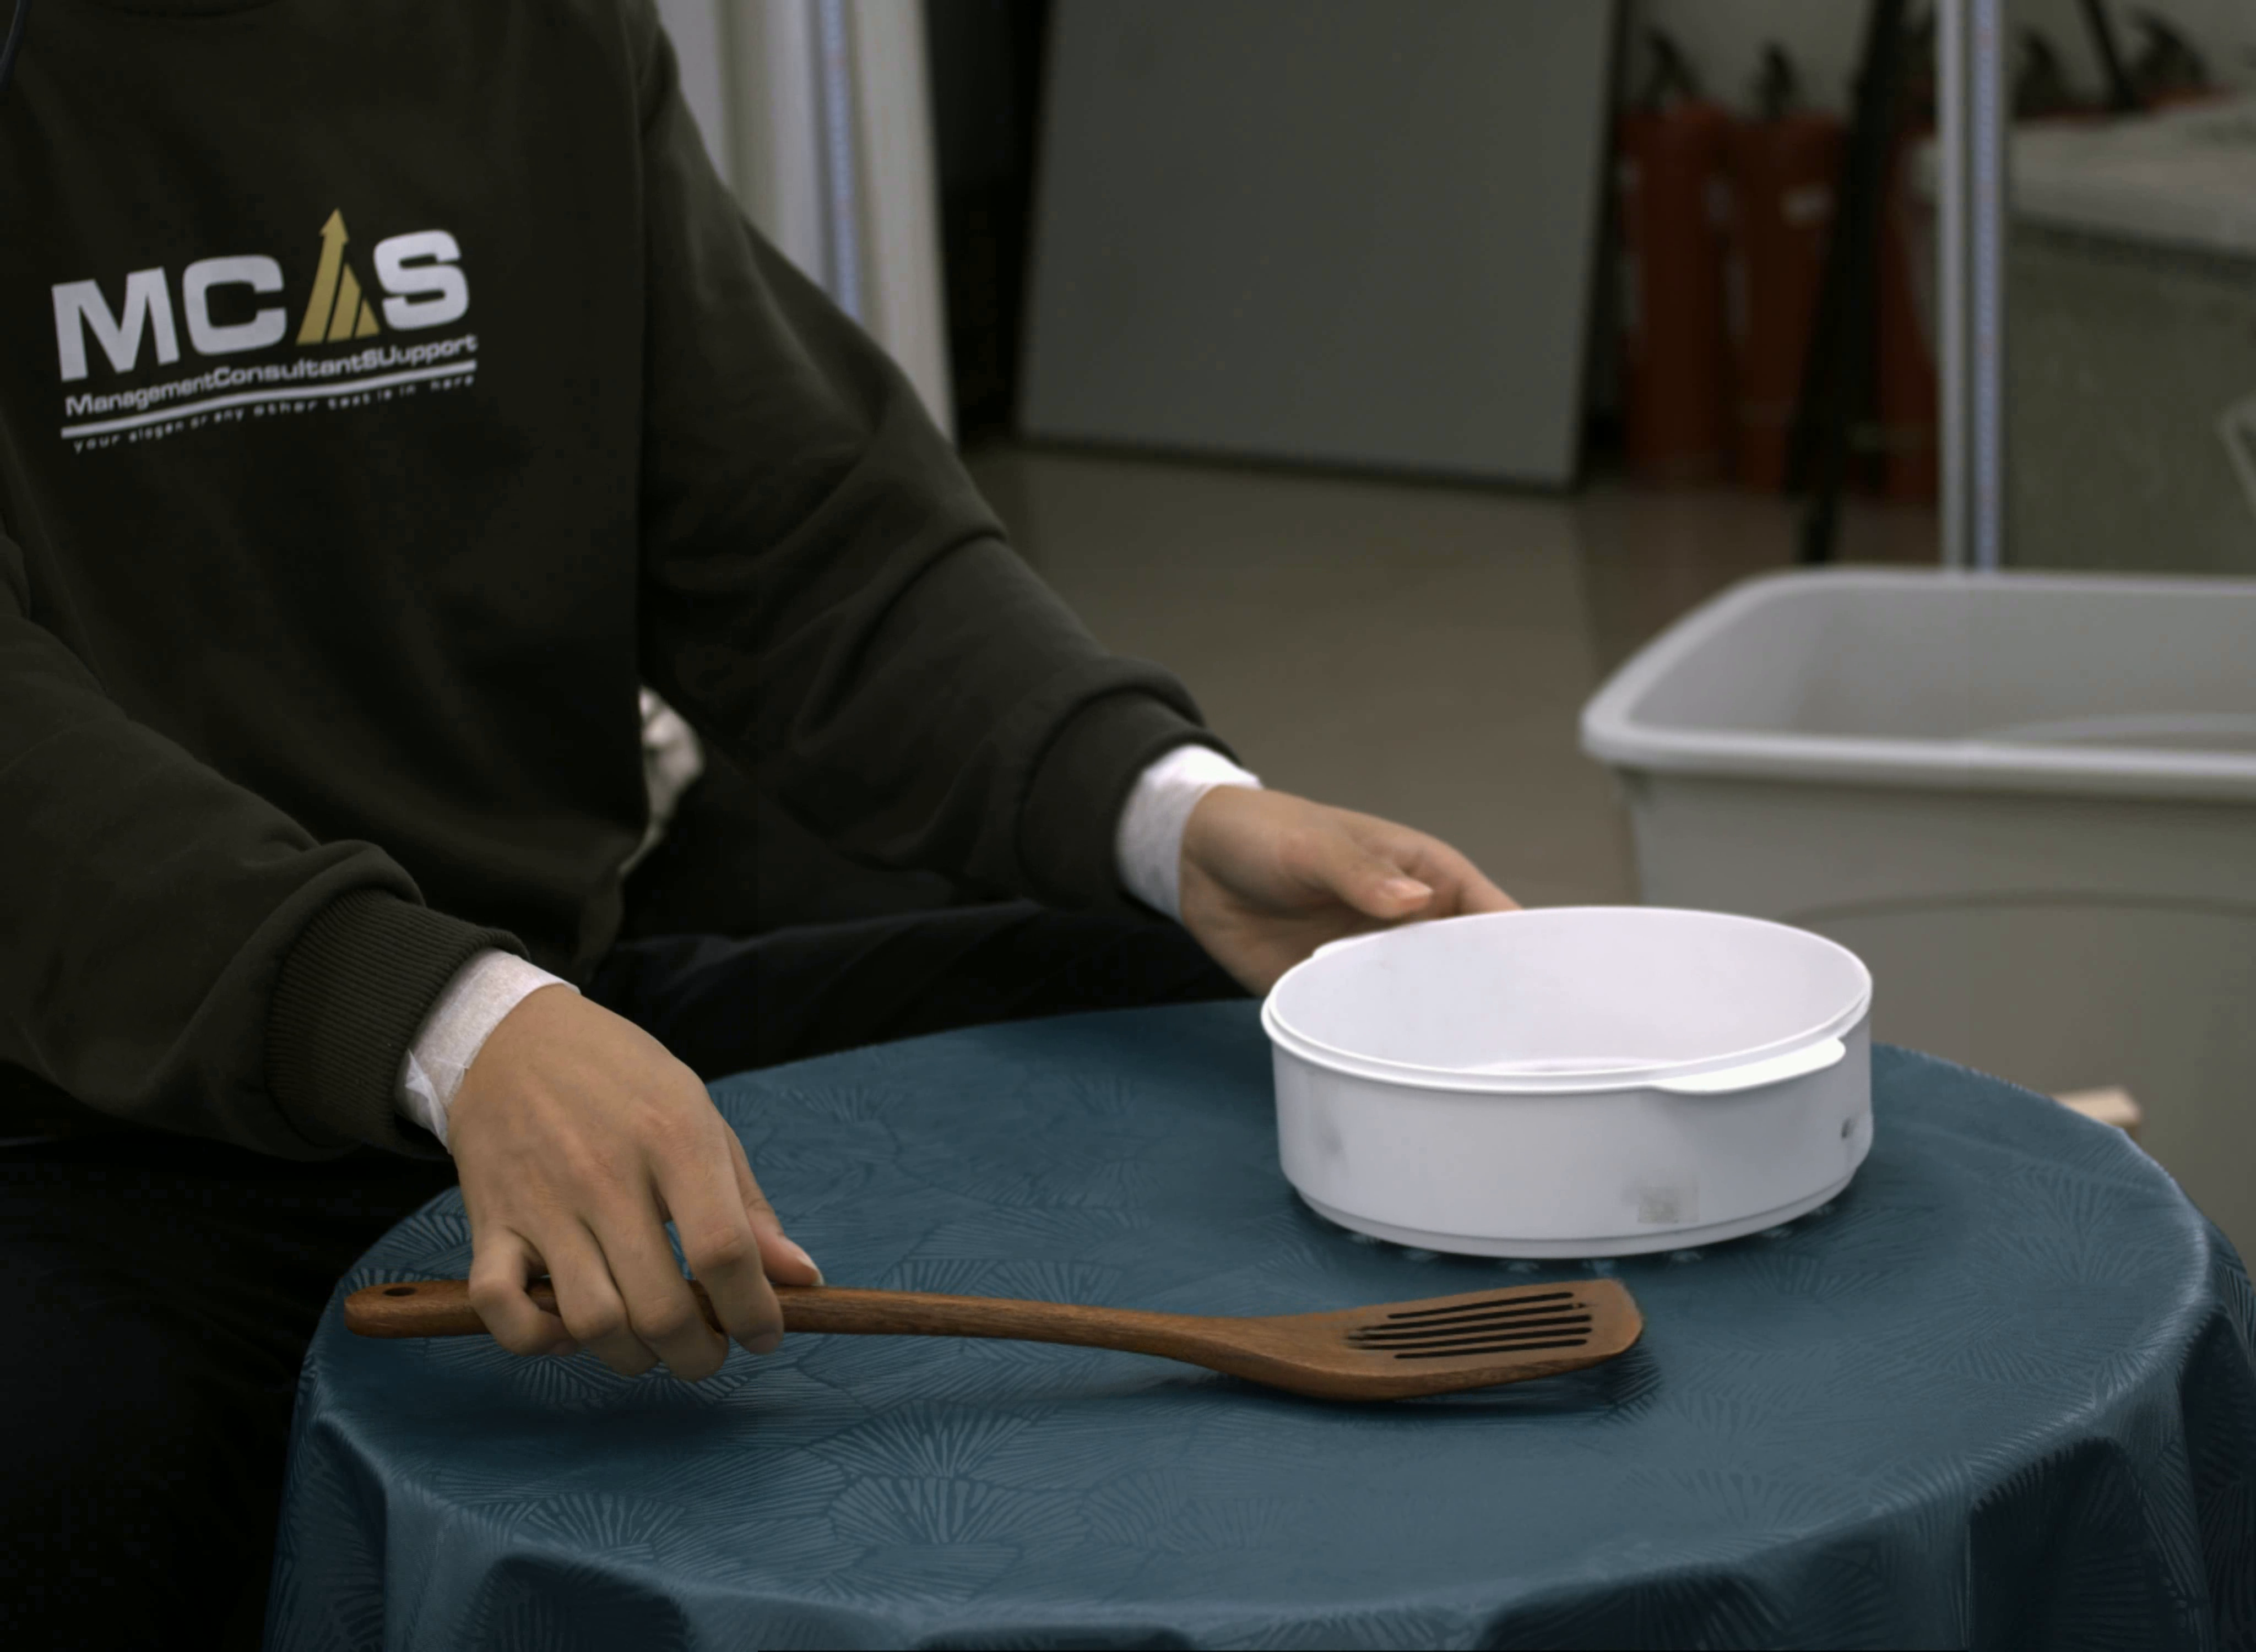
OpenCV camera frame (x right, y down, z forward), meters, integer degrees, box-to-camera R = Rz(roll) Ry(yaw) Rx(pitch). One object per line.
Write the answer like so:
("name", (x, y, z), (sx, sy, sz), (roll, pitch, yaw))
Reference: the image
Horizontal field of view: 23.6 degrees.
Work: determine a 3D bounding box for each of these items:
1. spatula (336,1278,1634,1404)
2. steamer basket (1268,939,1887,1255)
("spatula", (-0.042, 0.149, 1.585), (0.380, 0.024, 0.086), (2, 10, 1))
("steamer basket", (0.146, 0.088, 1.739), (0.197, 0.070, 0.233), (-9, 11, -29))
